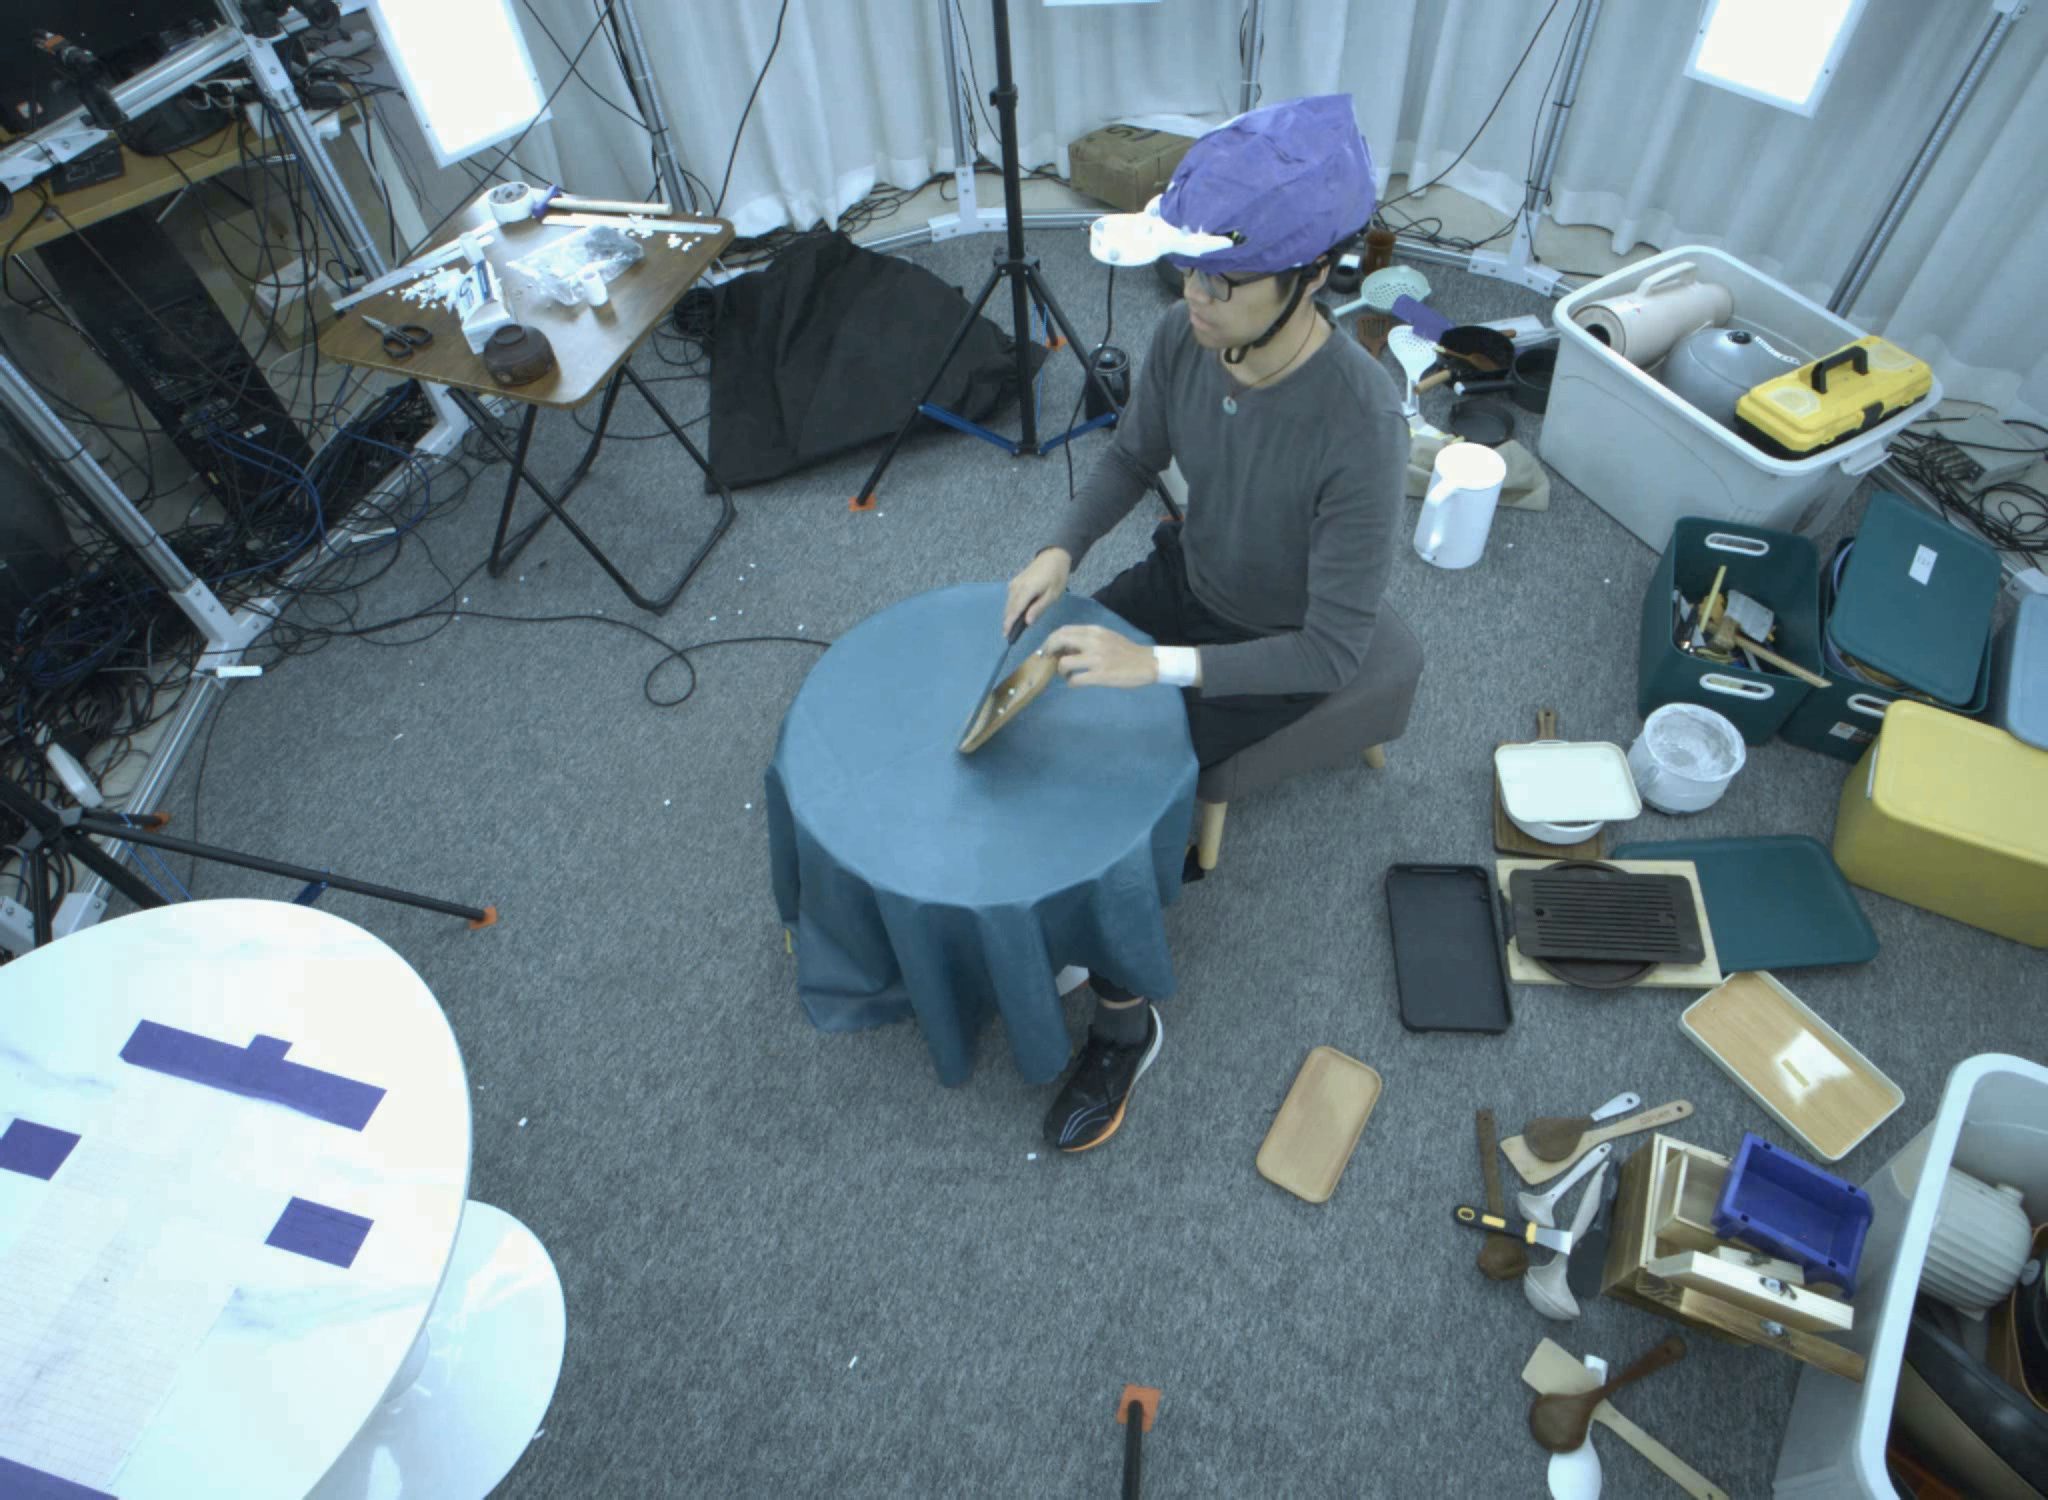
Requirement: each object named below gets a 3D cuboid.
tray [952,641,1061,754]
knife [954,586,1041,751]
[{"bbox_3d":[-0.027,-0.071,1.735,0.020,0.229,0.101,36,36,-17],"label":"tray"},{"bbox_3d":[-0.037,-0.125,1.779,0.021,0.080,0.302,30,60,-9],"label":"knife"}]
